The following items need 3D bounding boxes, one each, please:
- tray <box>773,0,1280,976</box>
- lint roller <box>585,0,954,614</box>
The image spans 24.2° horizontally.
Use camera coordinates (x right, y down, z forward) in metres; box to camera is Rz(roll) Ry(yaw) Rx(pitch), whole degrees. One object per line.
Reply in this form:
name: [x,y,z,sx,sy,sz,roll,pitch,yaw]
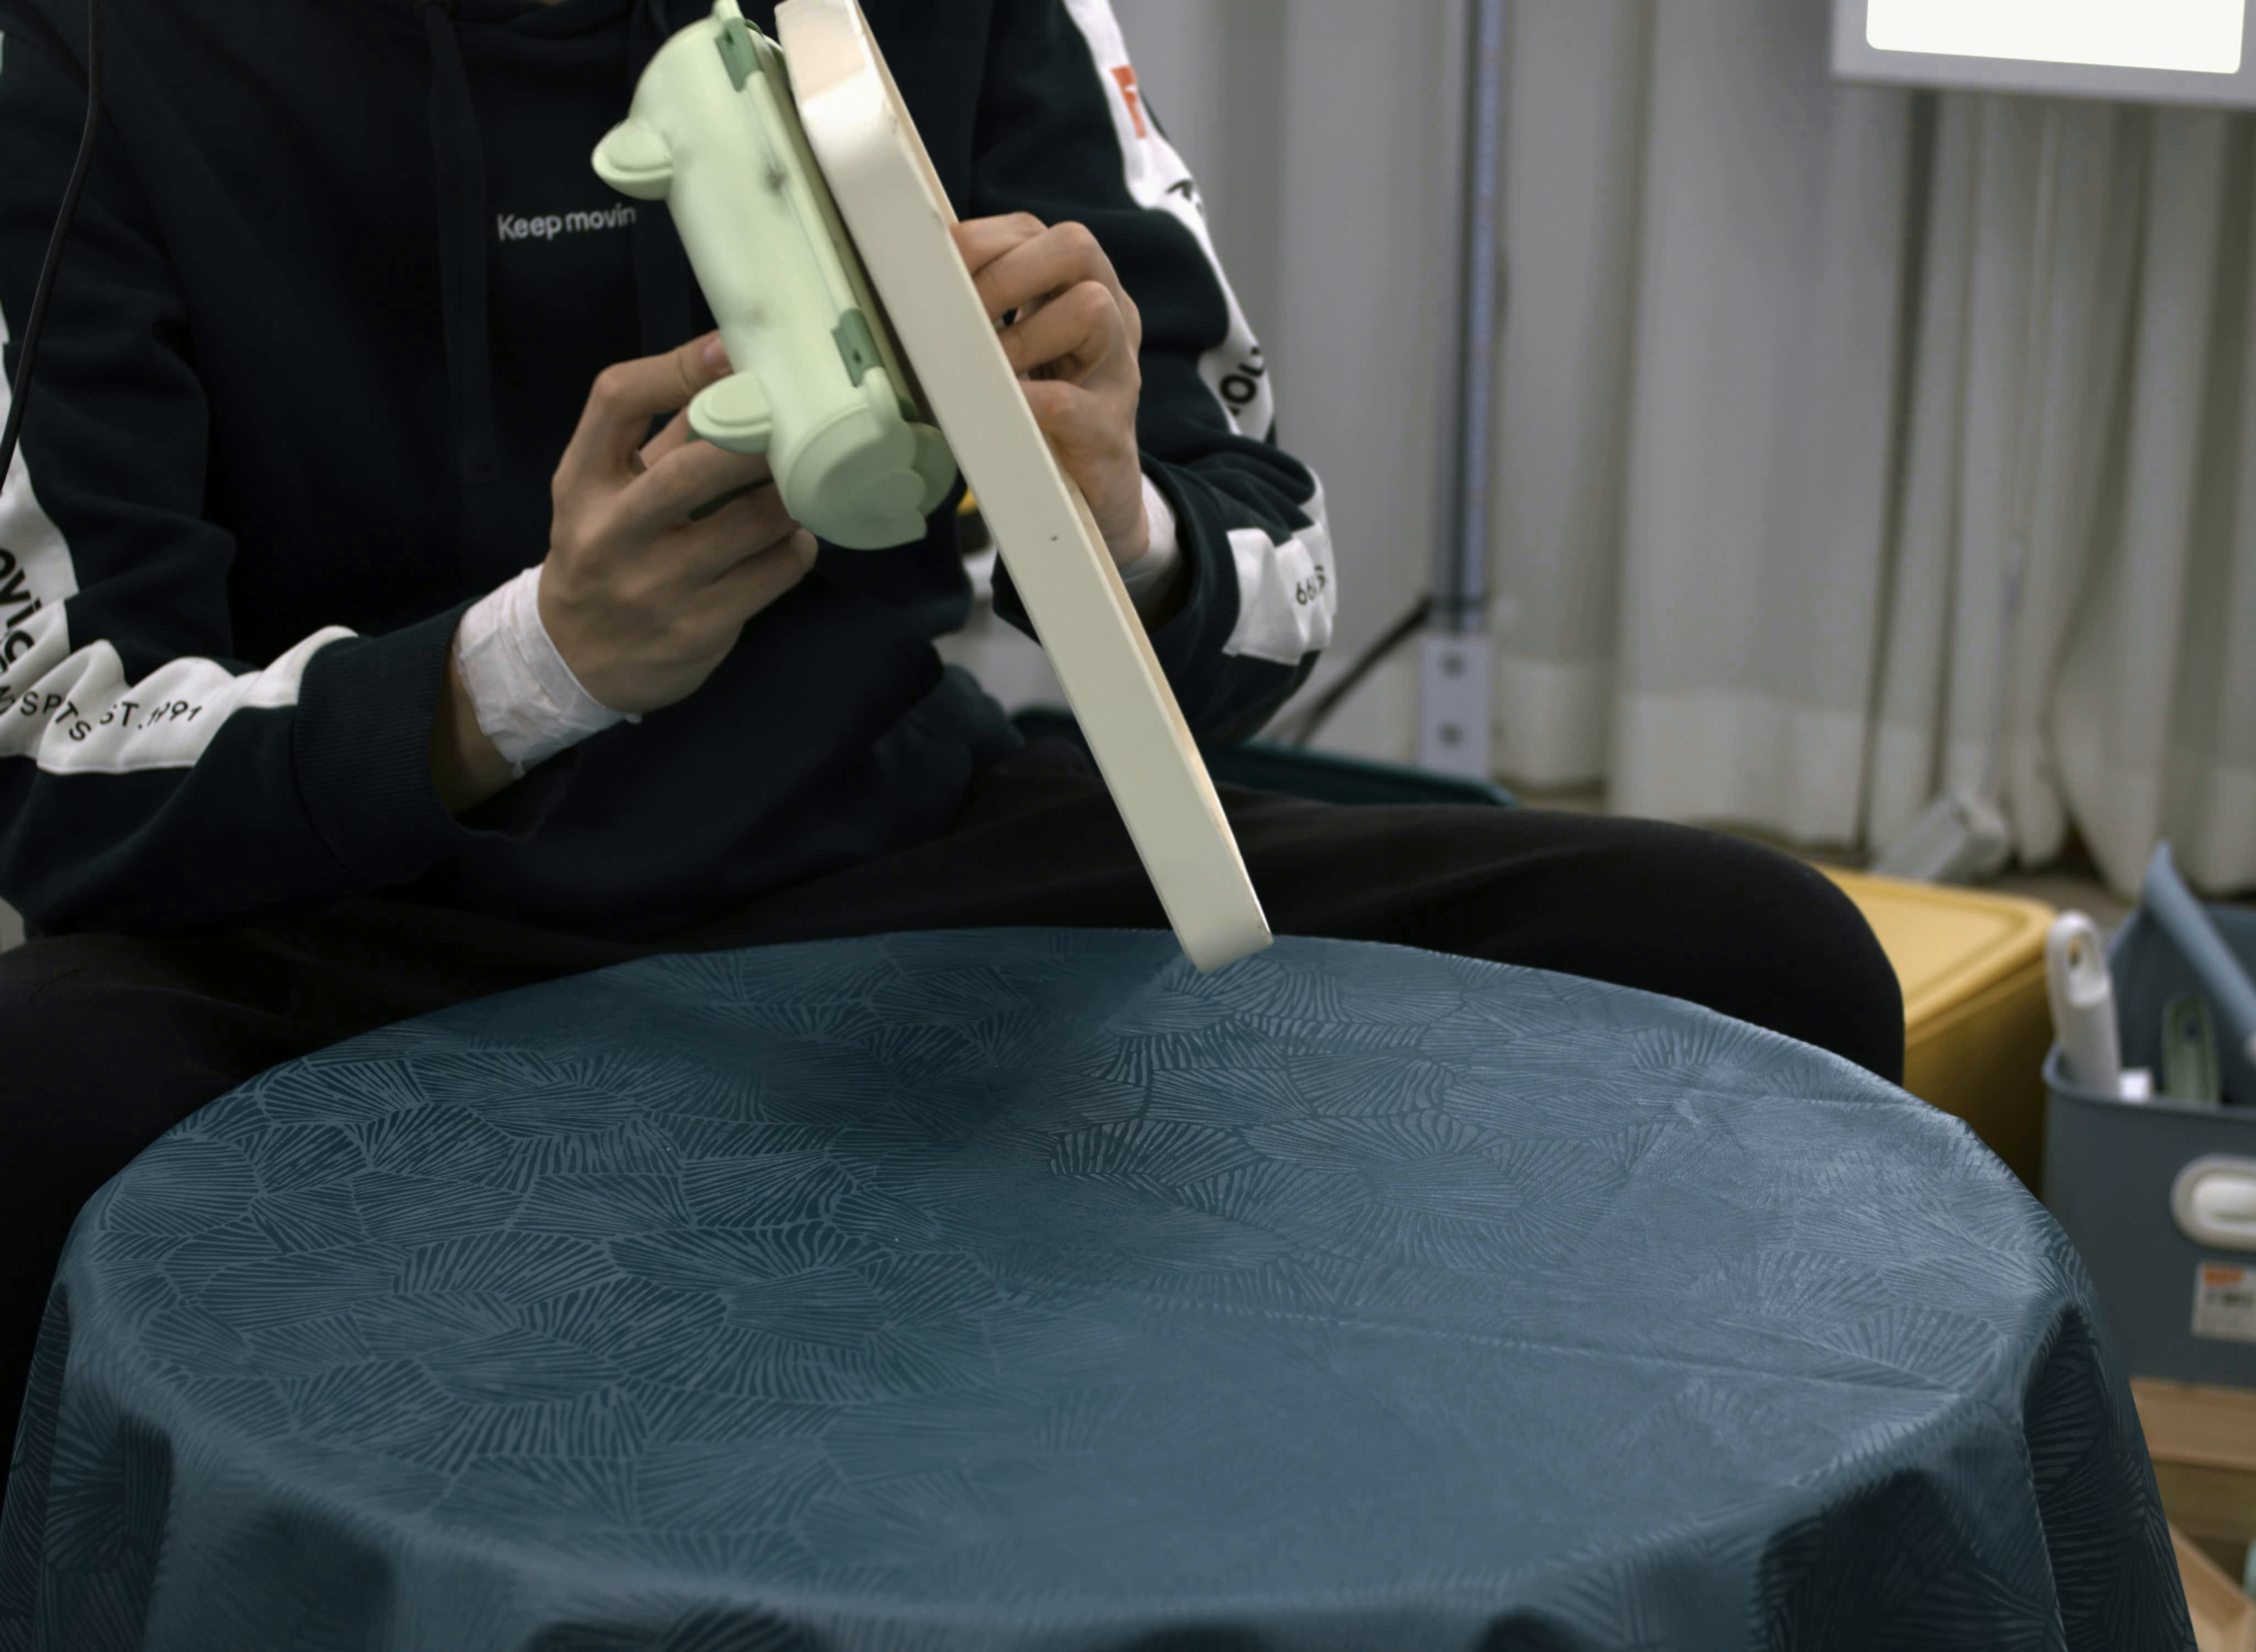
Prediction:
tray: [-0.033,-0.110,1.634,0.027,0.303,0.190,-24,20,1]
lint roller: [-0.132,-0.135,1.656,0.082,0.184,0.196,1,47,-30]
